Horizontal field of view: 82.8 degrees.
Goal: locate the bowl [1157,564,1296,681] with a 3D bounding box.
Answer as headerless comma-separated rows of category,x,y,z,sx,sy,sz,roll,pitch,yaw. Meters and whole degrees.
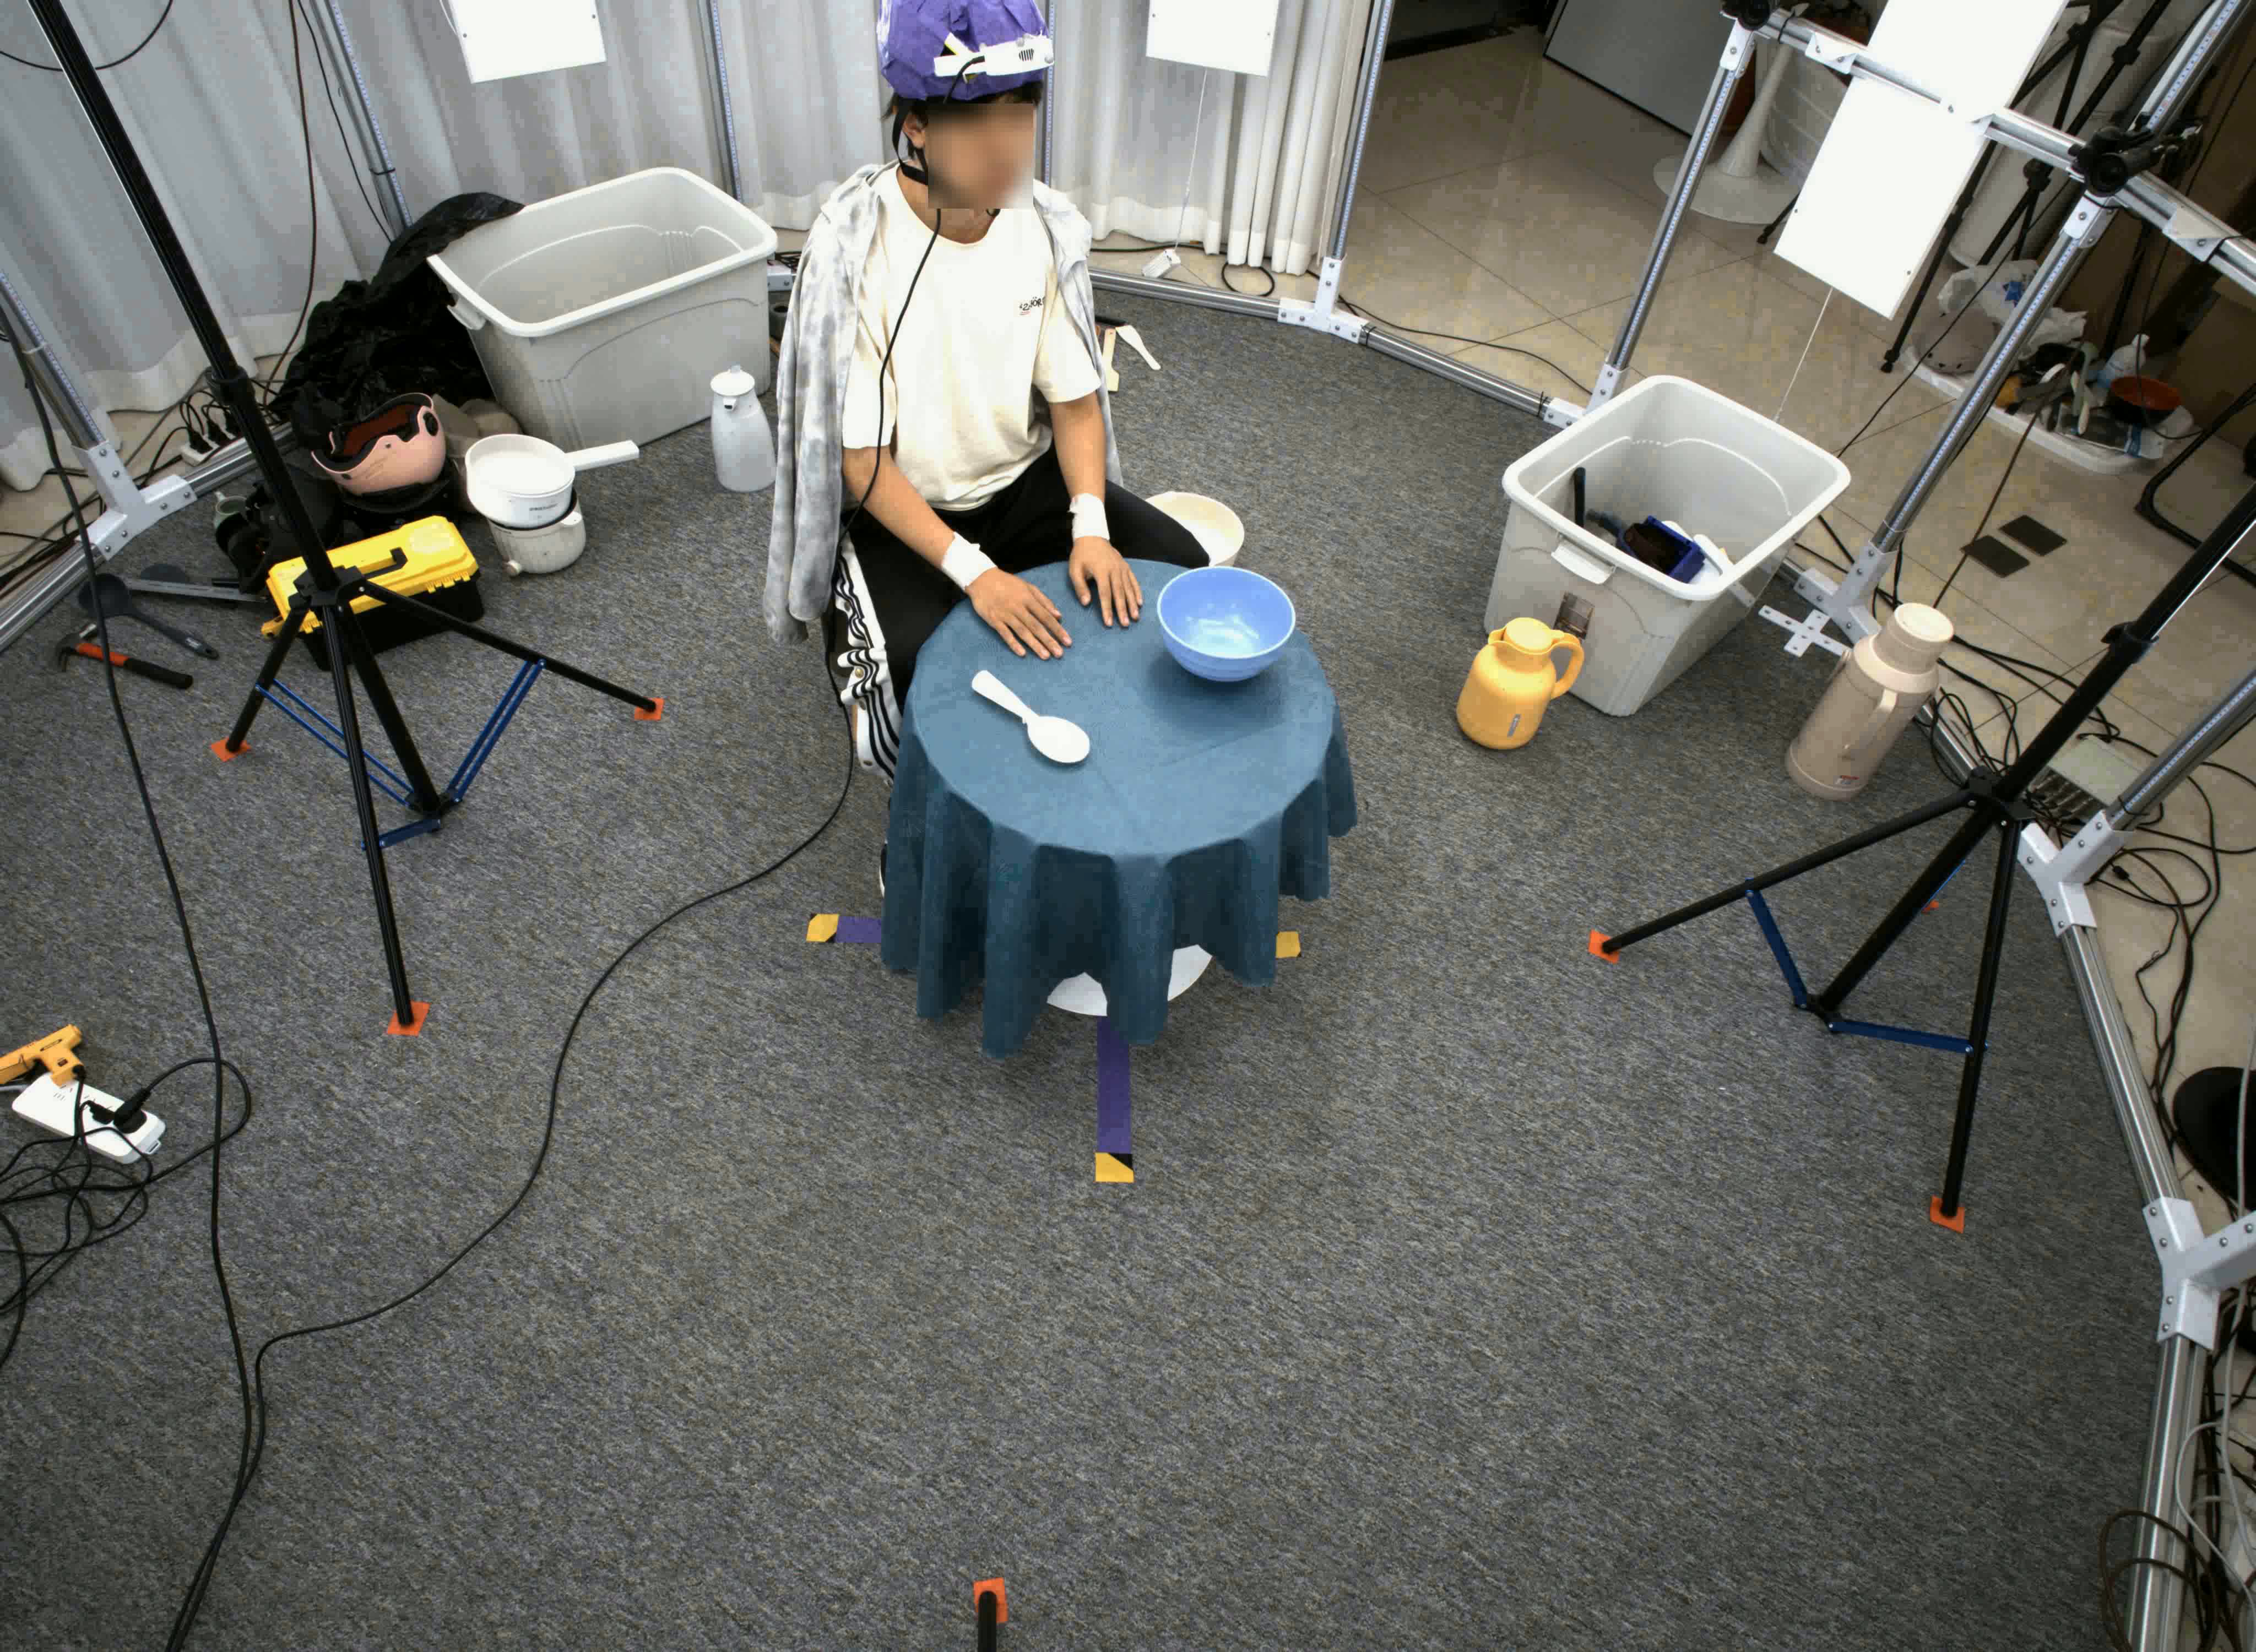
bowl,0.136,-0.277,1.848,0.196,0.093,0.201,2,50,-2

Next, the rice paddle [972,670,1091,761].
rice paddle,-0.133,-0.152,1.764,0.208,0.029,0.069,37,57,25
